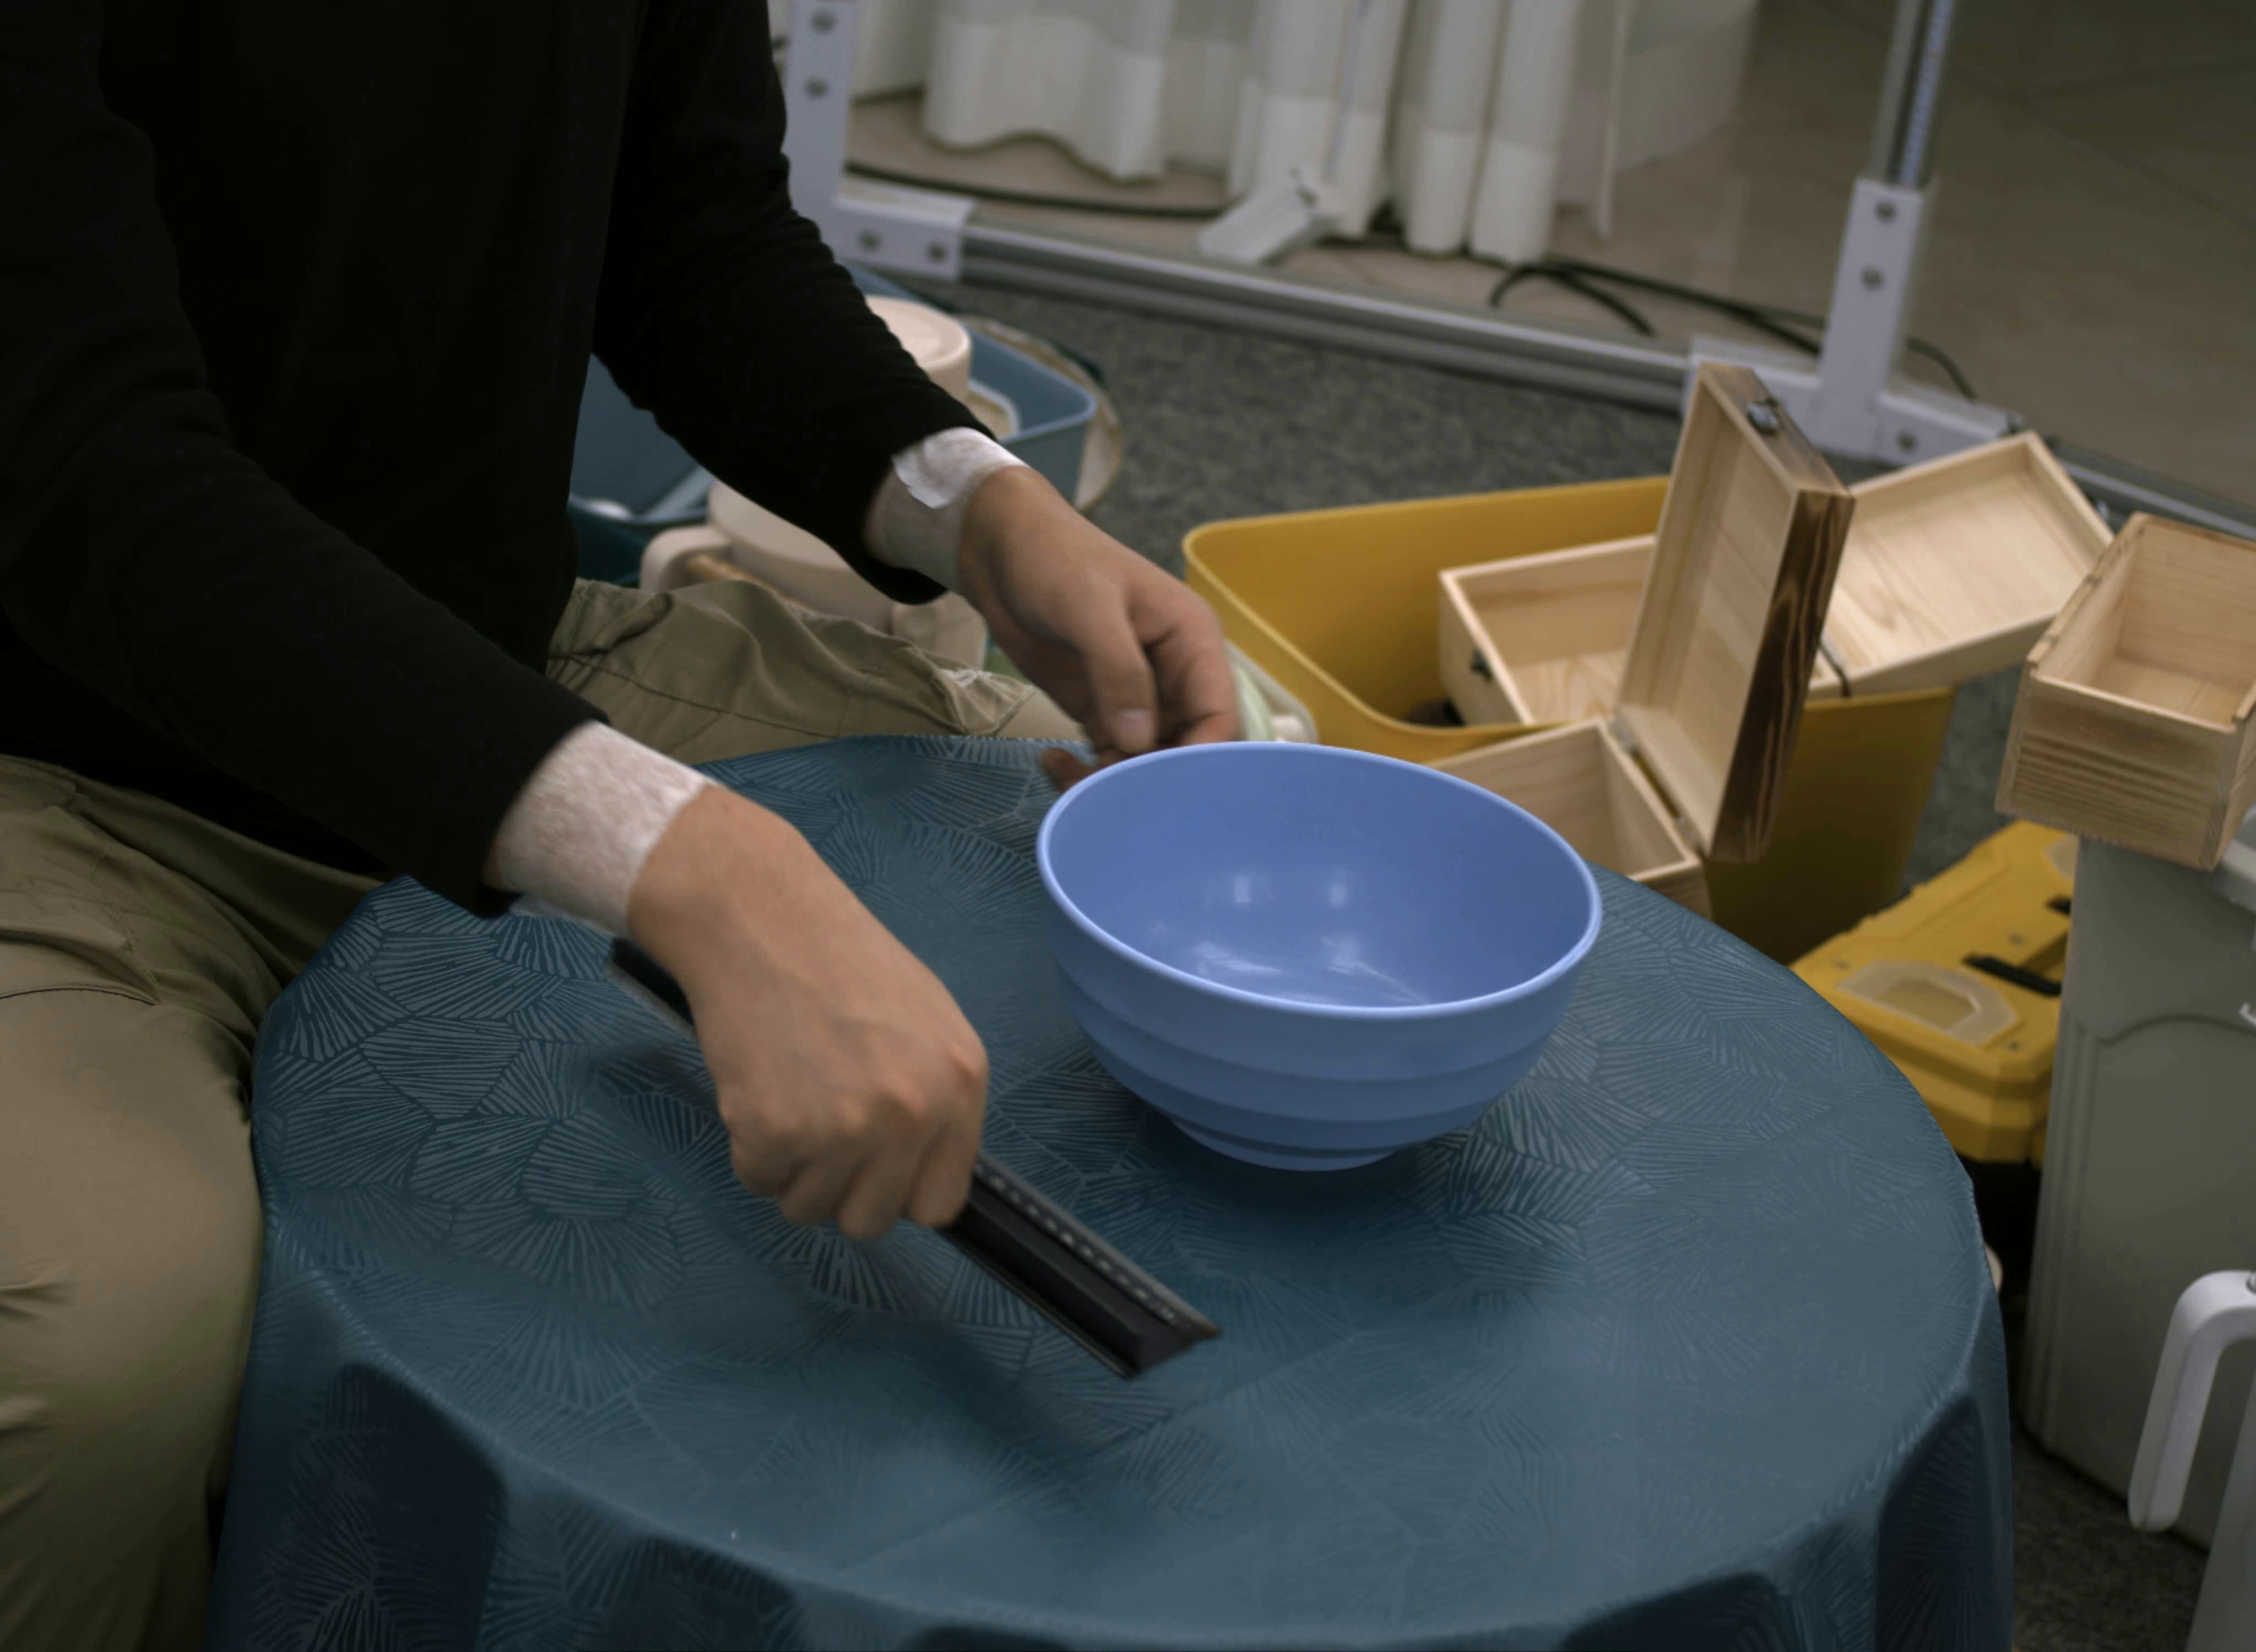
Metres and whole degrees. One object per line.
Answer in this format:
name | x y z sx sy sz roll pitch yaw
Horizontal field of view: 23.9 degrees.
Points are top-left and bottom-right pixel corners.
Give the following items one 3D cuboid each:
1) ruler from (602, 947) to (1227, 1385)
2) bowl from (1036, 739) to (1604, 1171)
ruler | -0.075 0.101 1.739 0.039 0.017 0.315 -20 33 -31
bowl | 0.060 0.056 1.843 0.196 0.095 0.198 6 27 -3
